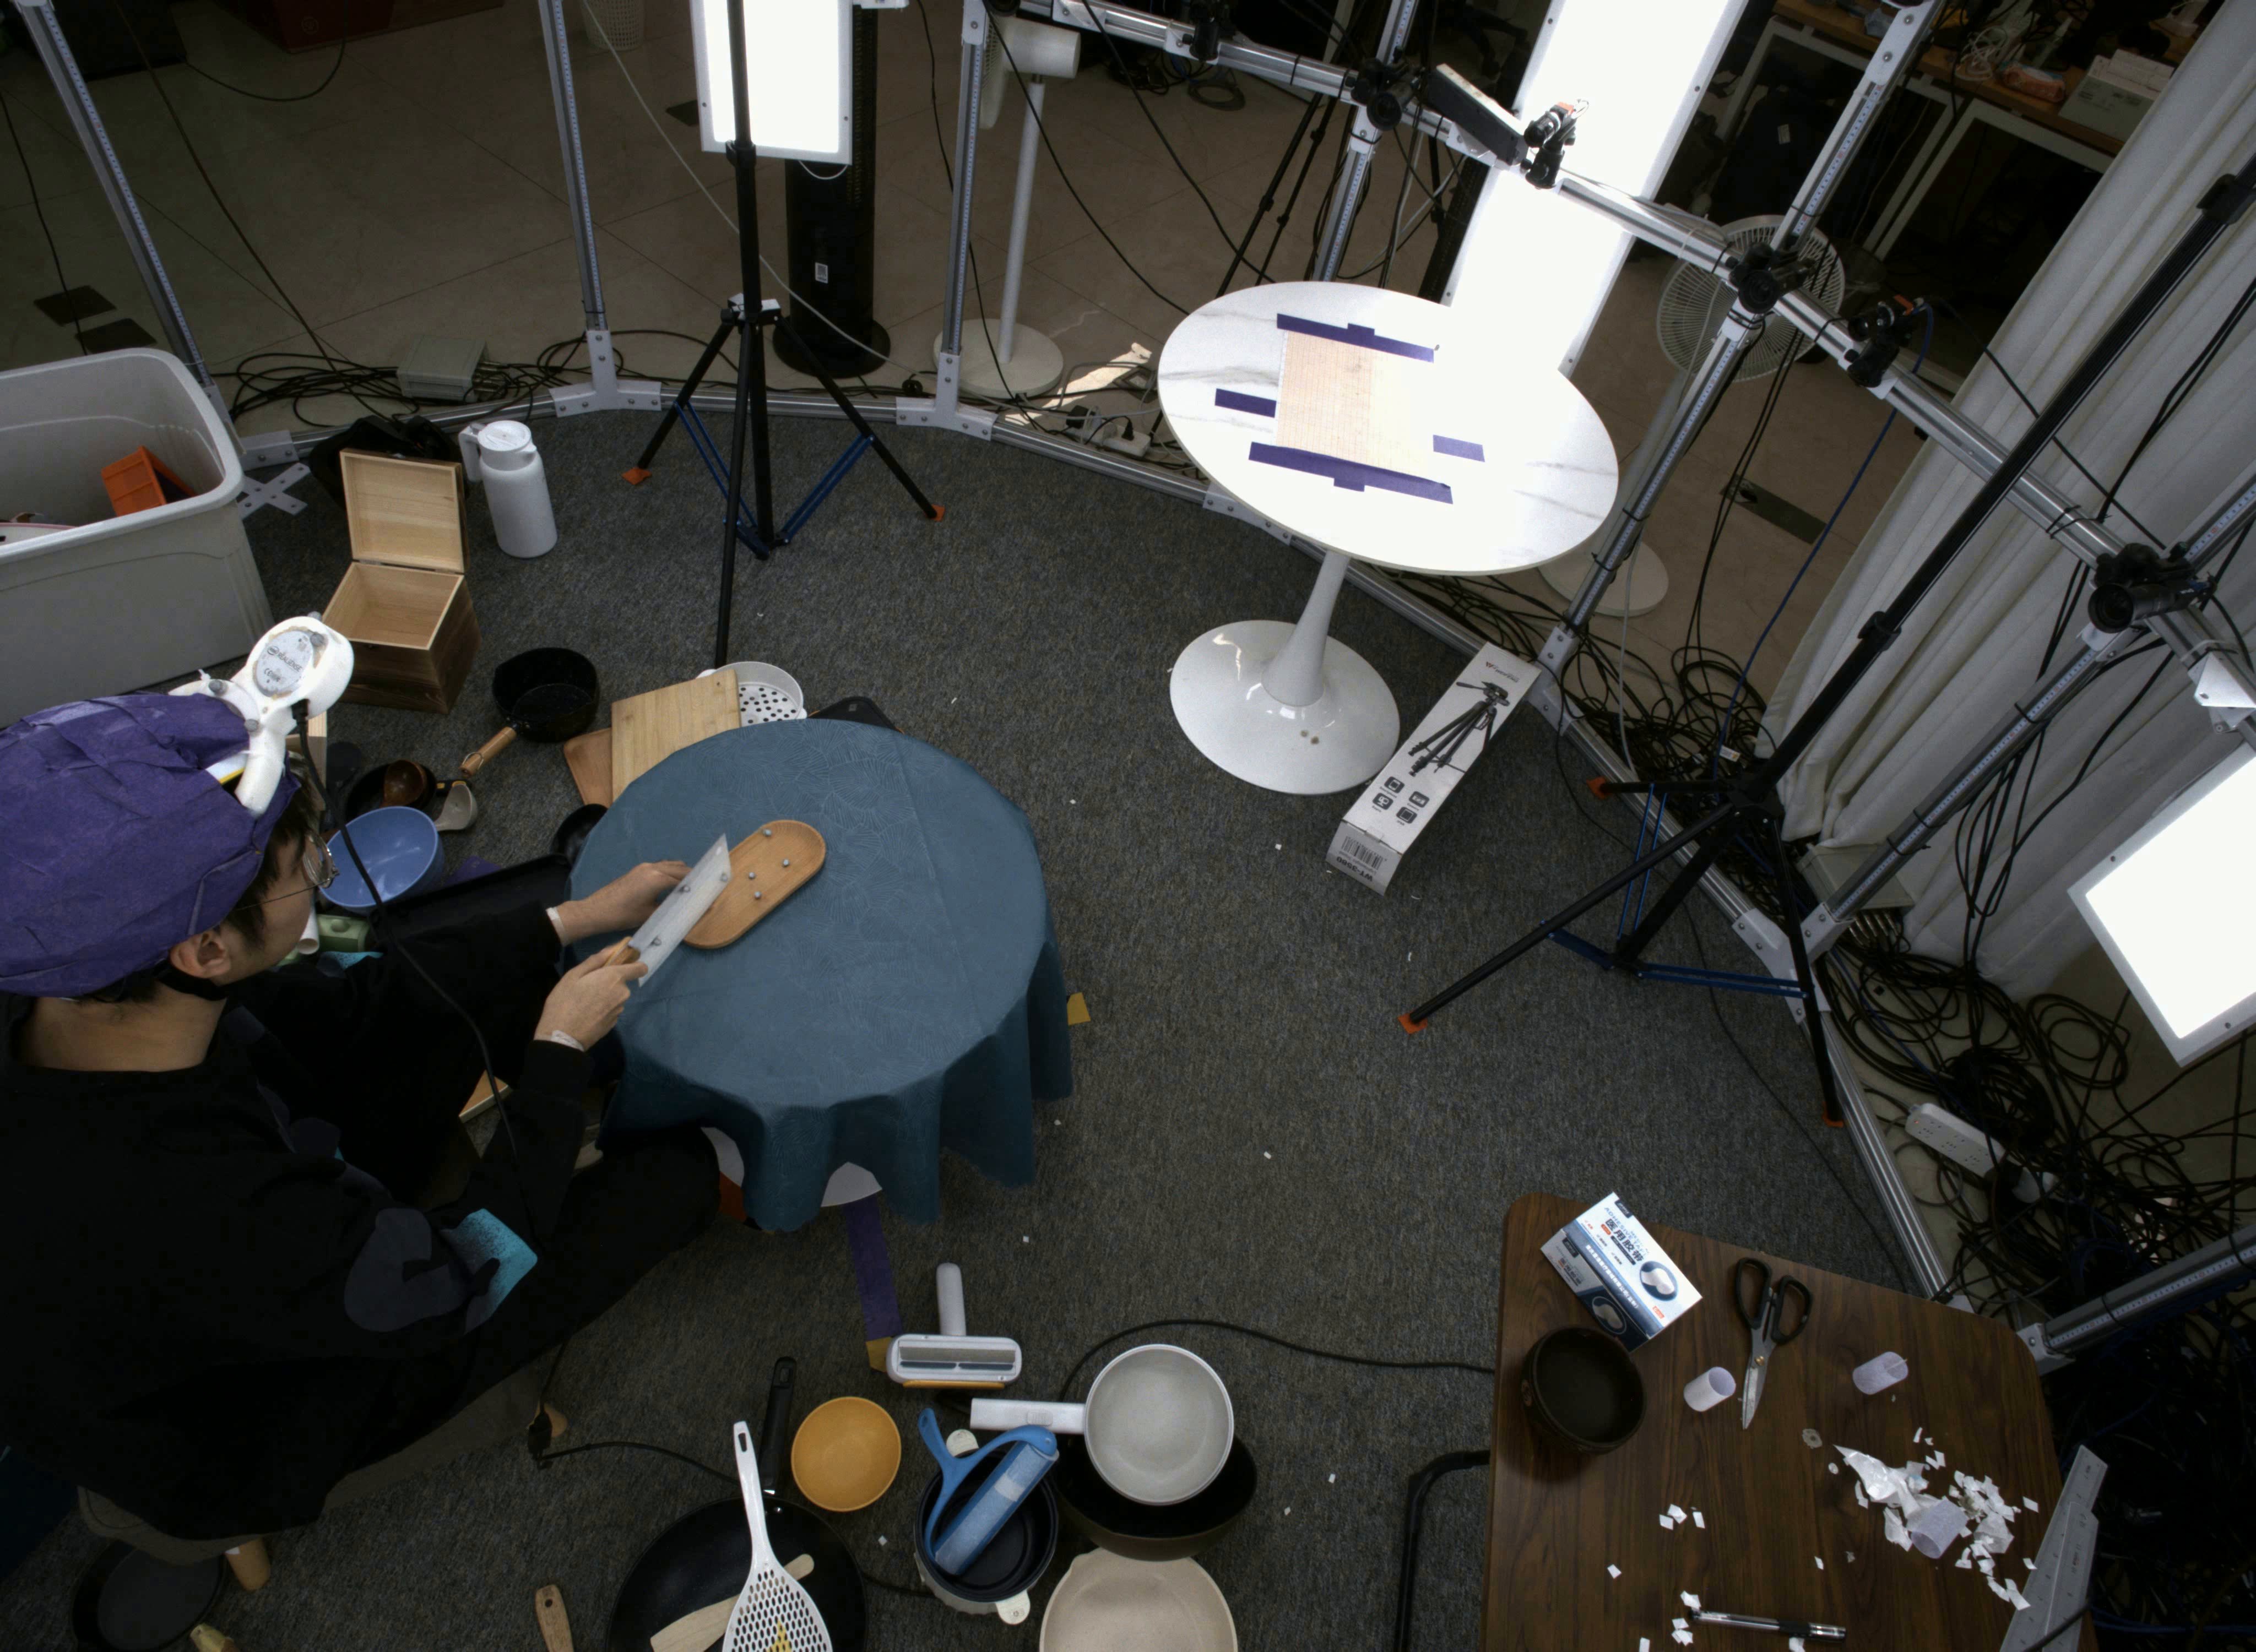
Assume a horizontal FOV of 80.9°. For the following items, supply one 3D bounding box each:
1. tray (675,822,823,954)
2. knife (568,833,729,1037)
[{"bbox_3d":[-0.482,0.075,1.631,0.099,0.021,0.231,35,54,14],"label":"tray"},{"bbox_3d":[-0.550,0.133,1.483,0.020,0.095,0.303,21,49,10],"label":"knife"}]
